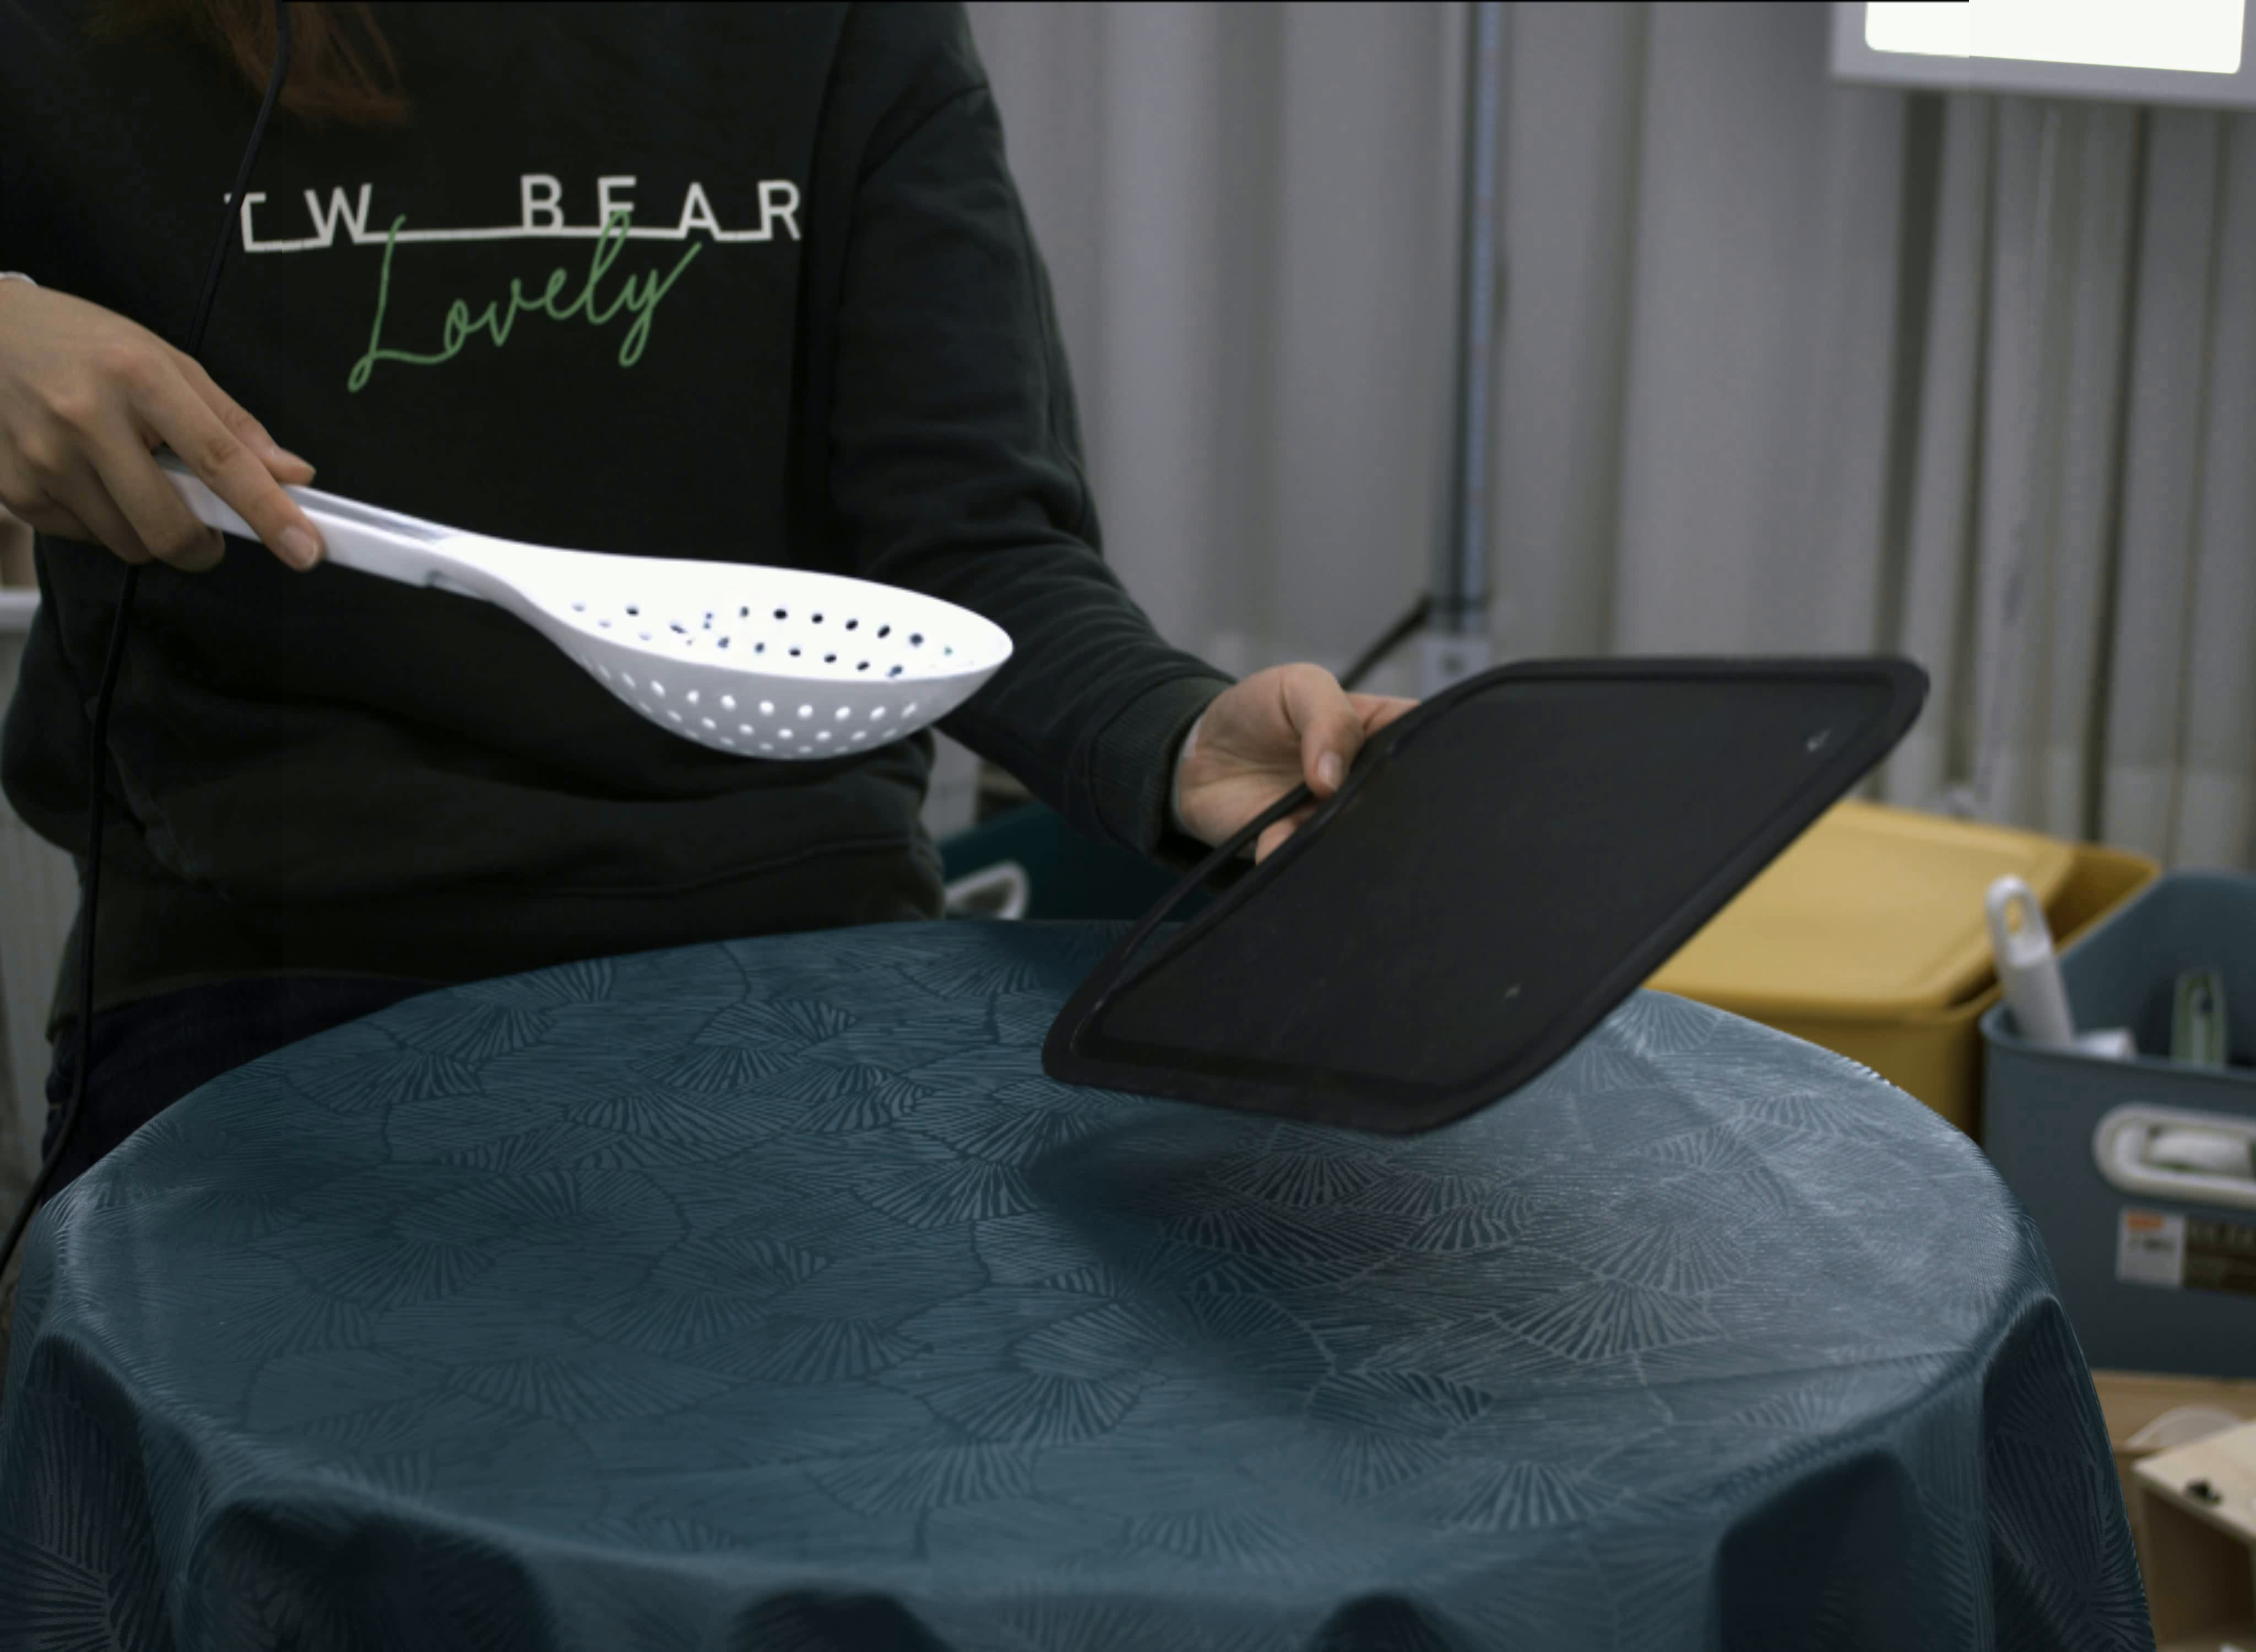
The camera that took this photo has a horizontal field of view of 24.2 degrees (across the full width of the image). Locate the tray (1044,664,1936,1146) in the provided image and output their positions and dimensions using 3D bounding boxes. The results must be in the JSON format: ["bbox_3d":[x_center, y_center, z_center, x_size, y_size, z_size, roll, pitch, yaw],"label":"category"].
[{"bbox_3d":[0.094,0.017,1.559,0.211,0.010,0.322,-41,18,-18],"label":"tray"}]

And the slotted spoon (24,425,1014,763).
[{"bbox_3d":[-0.193,-0.077,1.573,0.345,0.046,0.136,21,18,26],"label":"slotted spoon"}]
